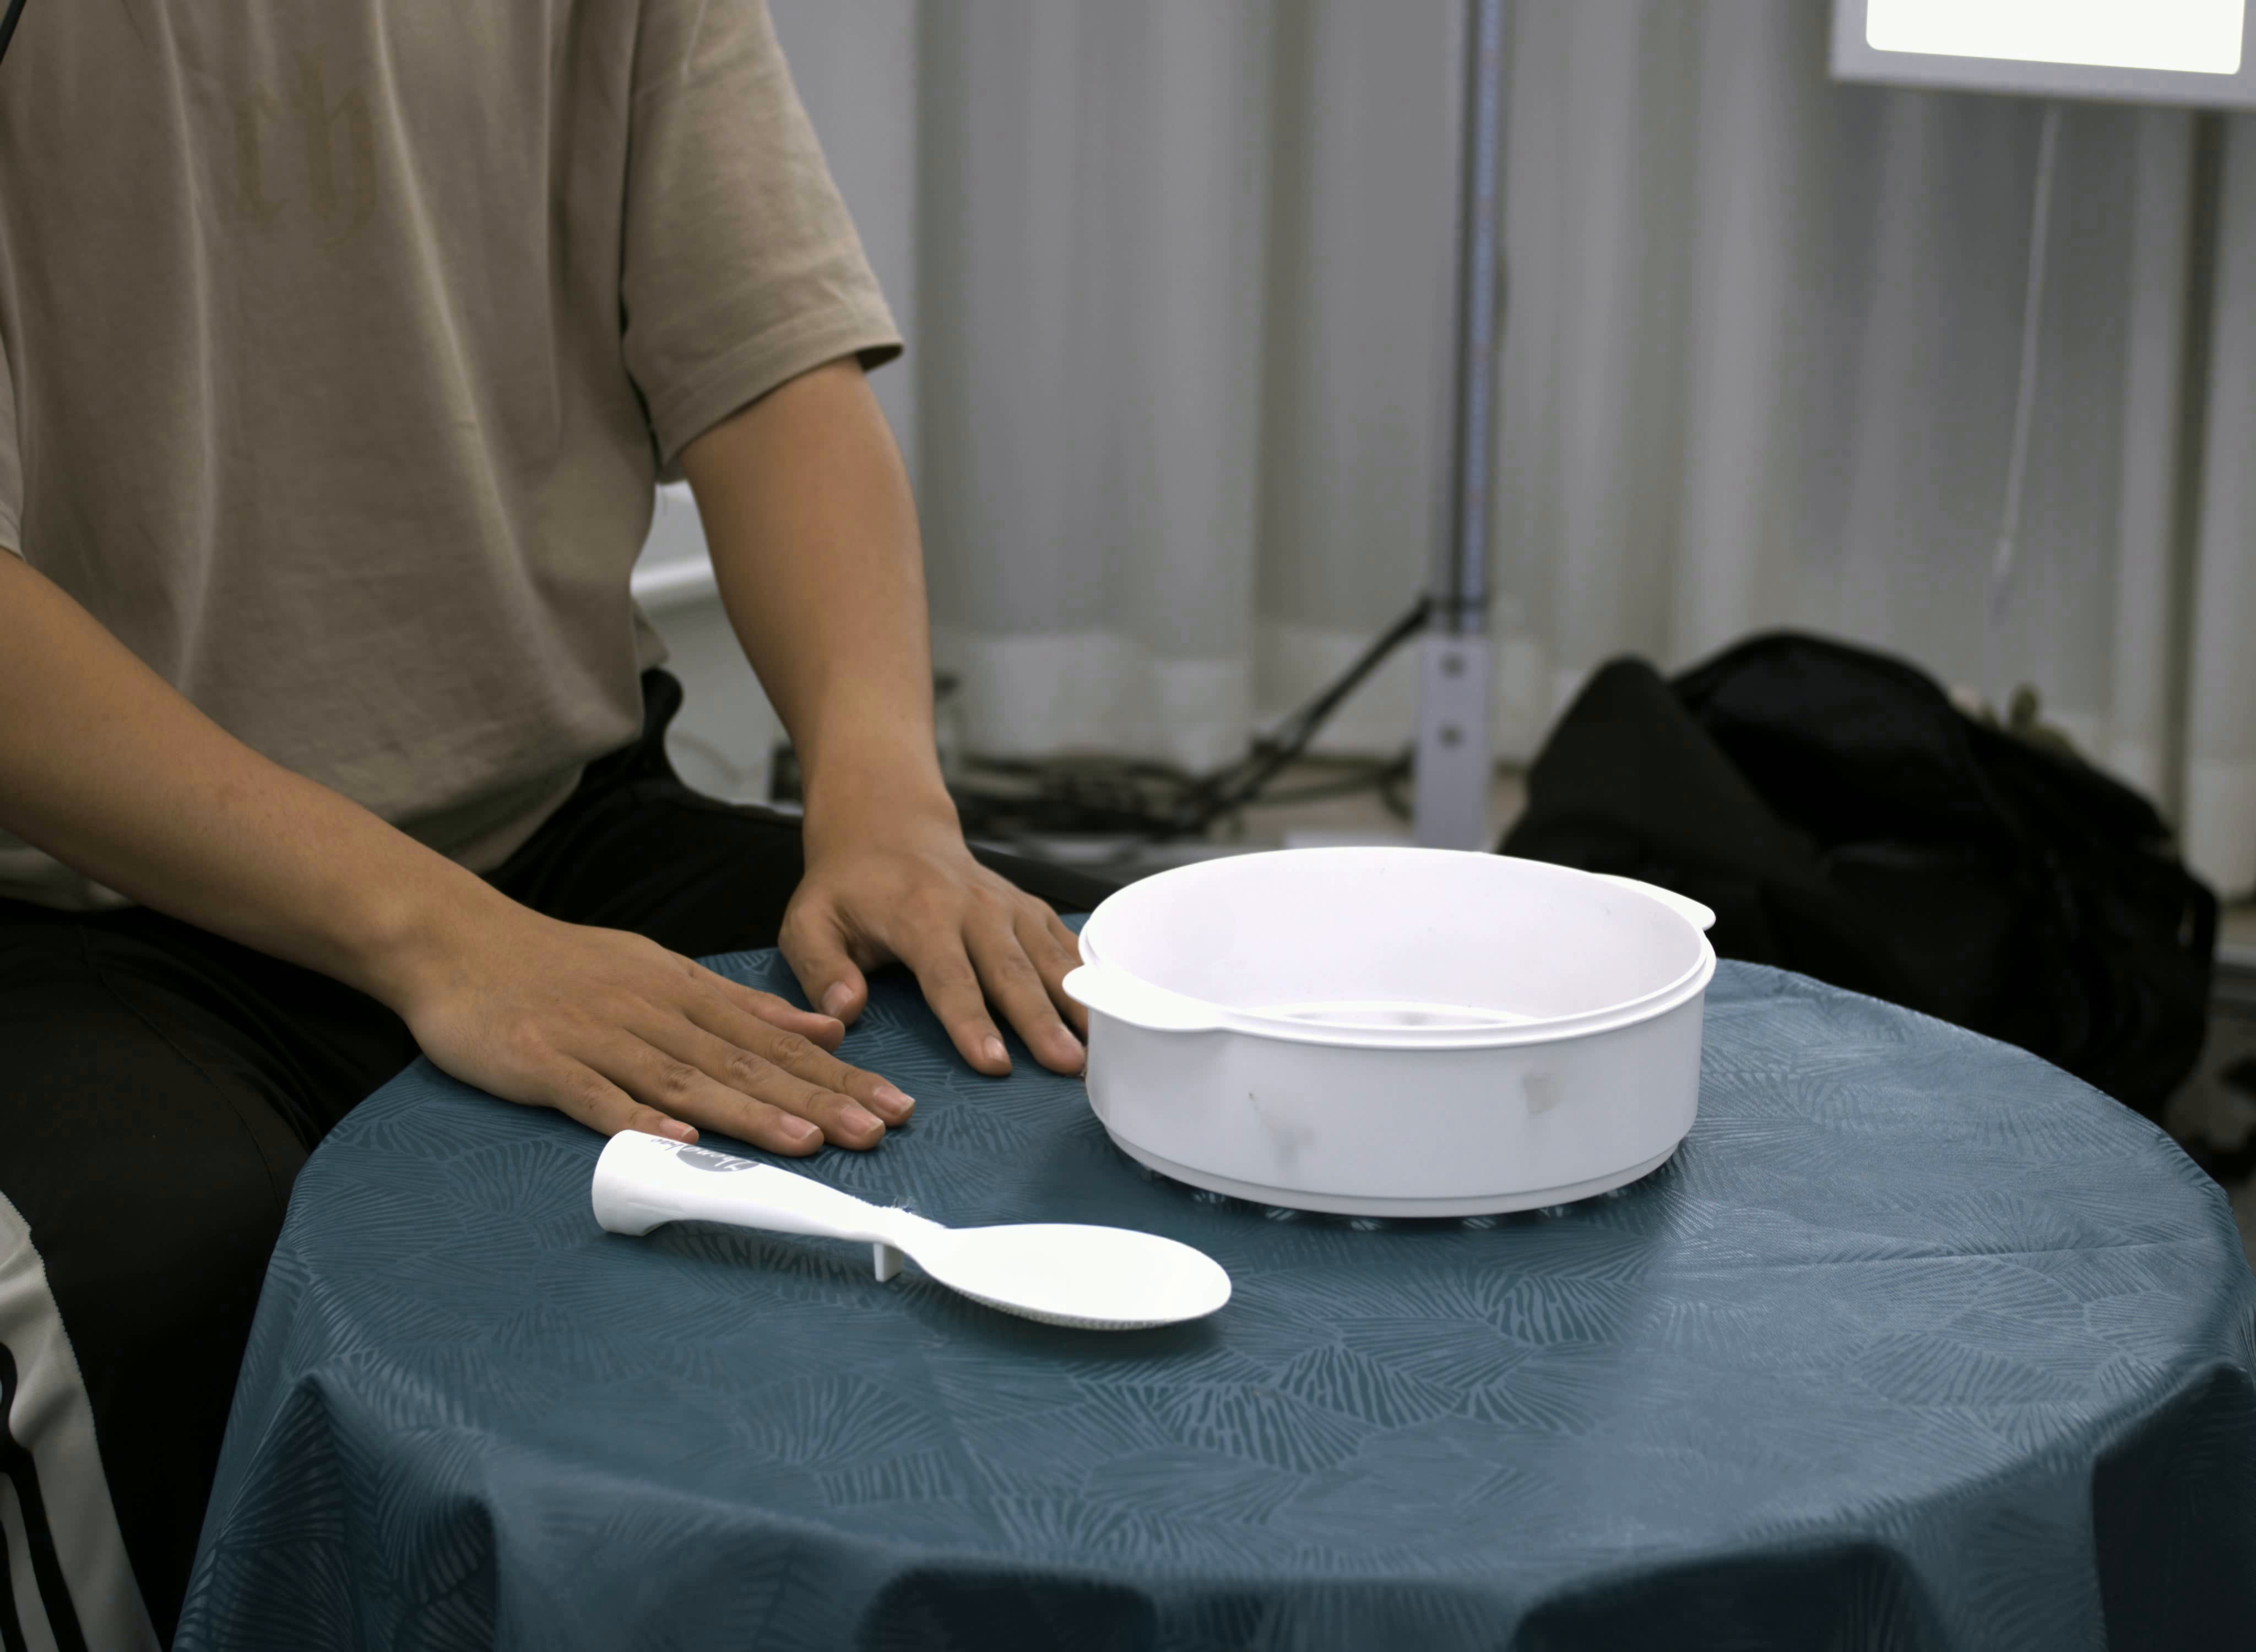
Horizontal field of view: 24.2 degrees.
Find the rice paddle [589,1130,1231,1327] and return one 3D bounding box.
[{"bbox_3d":[-0.064,0.119,1.541,0.203,0.029,0.069,9,19,25],"label":"rice paddle"}]

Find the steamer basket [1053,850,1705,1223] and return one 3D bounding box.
[{"bbox_3d":[0.080,0.067,1.670,0.232,0.070,0.199,-9,19,-34],"label":"steamer basket"}]
